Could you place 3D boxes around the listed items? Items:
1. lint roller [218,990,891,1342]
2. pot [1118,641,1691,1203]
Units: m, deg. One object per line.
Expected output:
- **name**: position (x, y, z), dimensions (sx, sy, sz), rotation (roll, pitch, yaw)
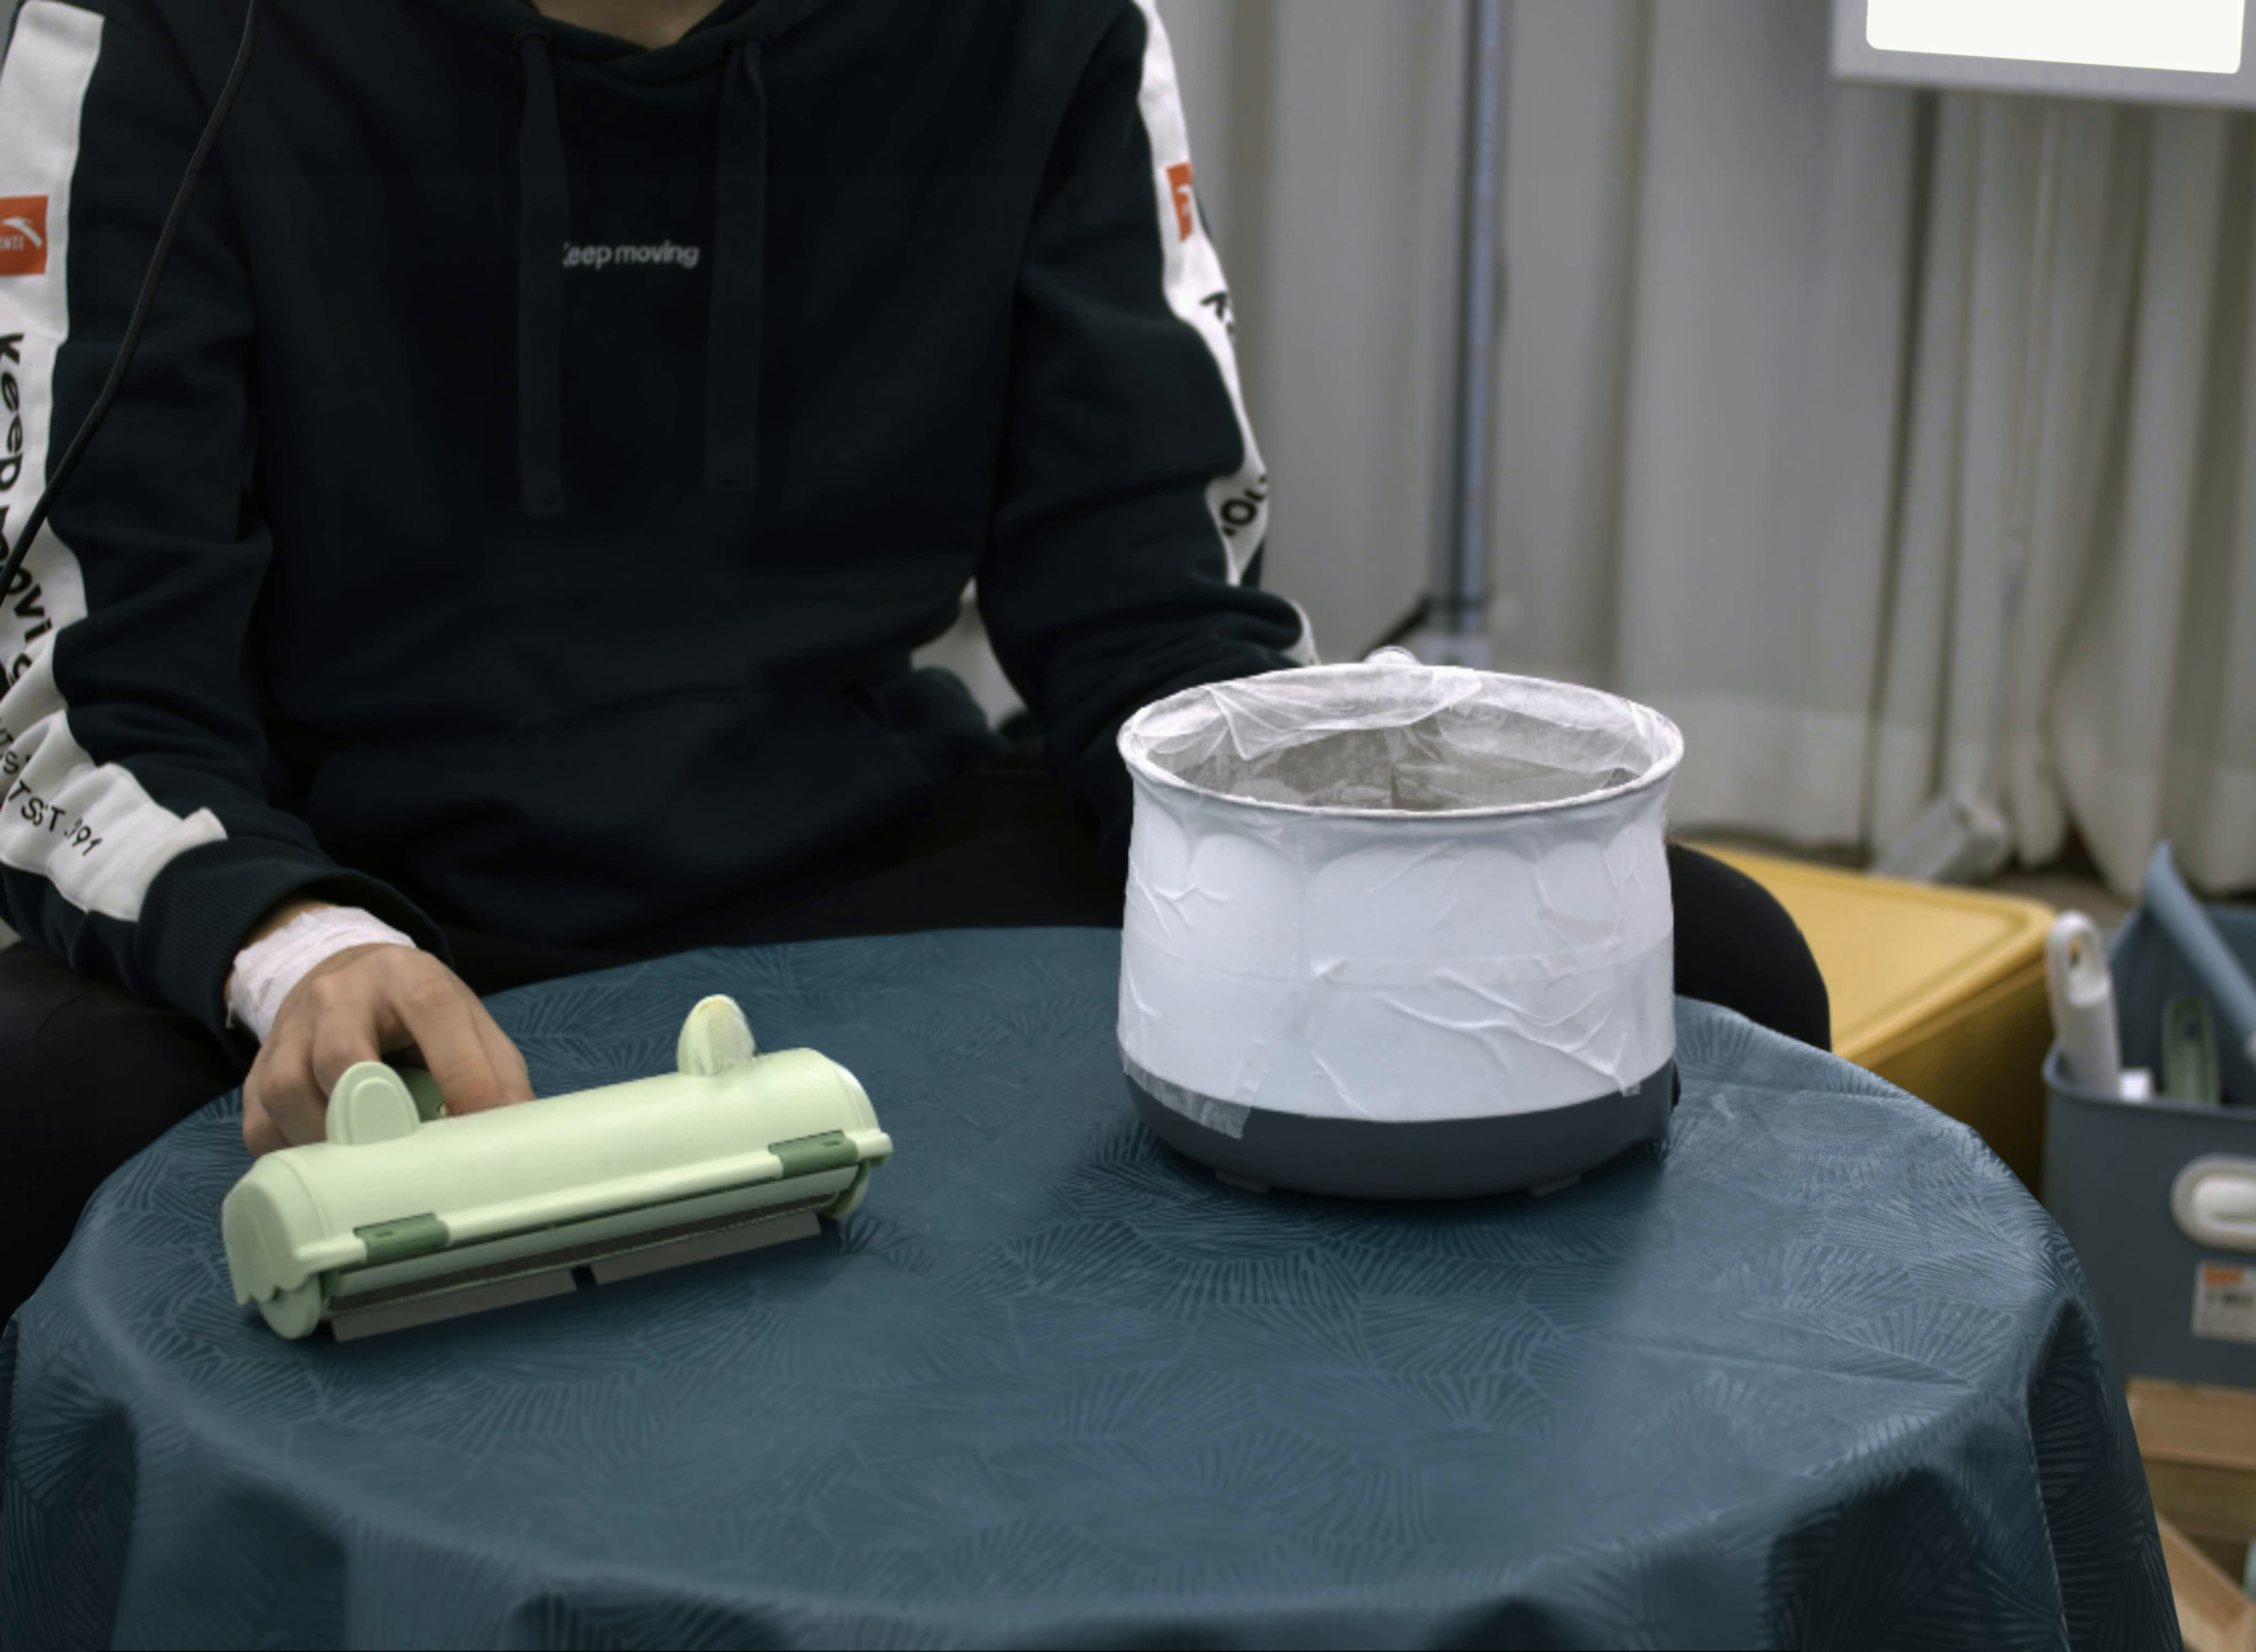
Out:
- **lint roller**: position (-0.197, 0.083, 1.578), dimensions (0.199, 0.083, 0.181), rotation (-10, 24, -33)
- **pot**: position (0.085, 0.025, 1.675), dimensions (0.178, 0.138, 0.232), rotation (1, 17, 0)
